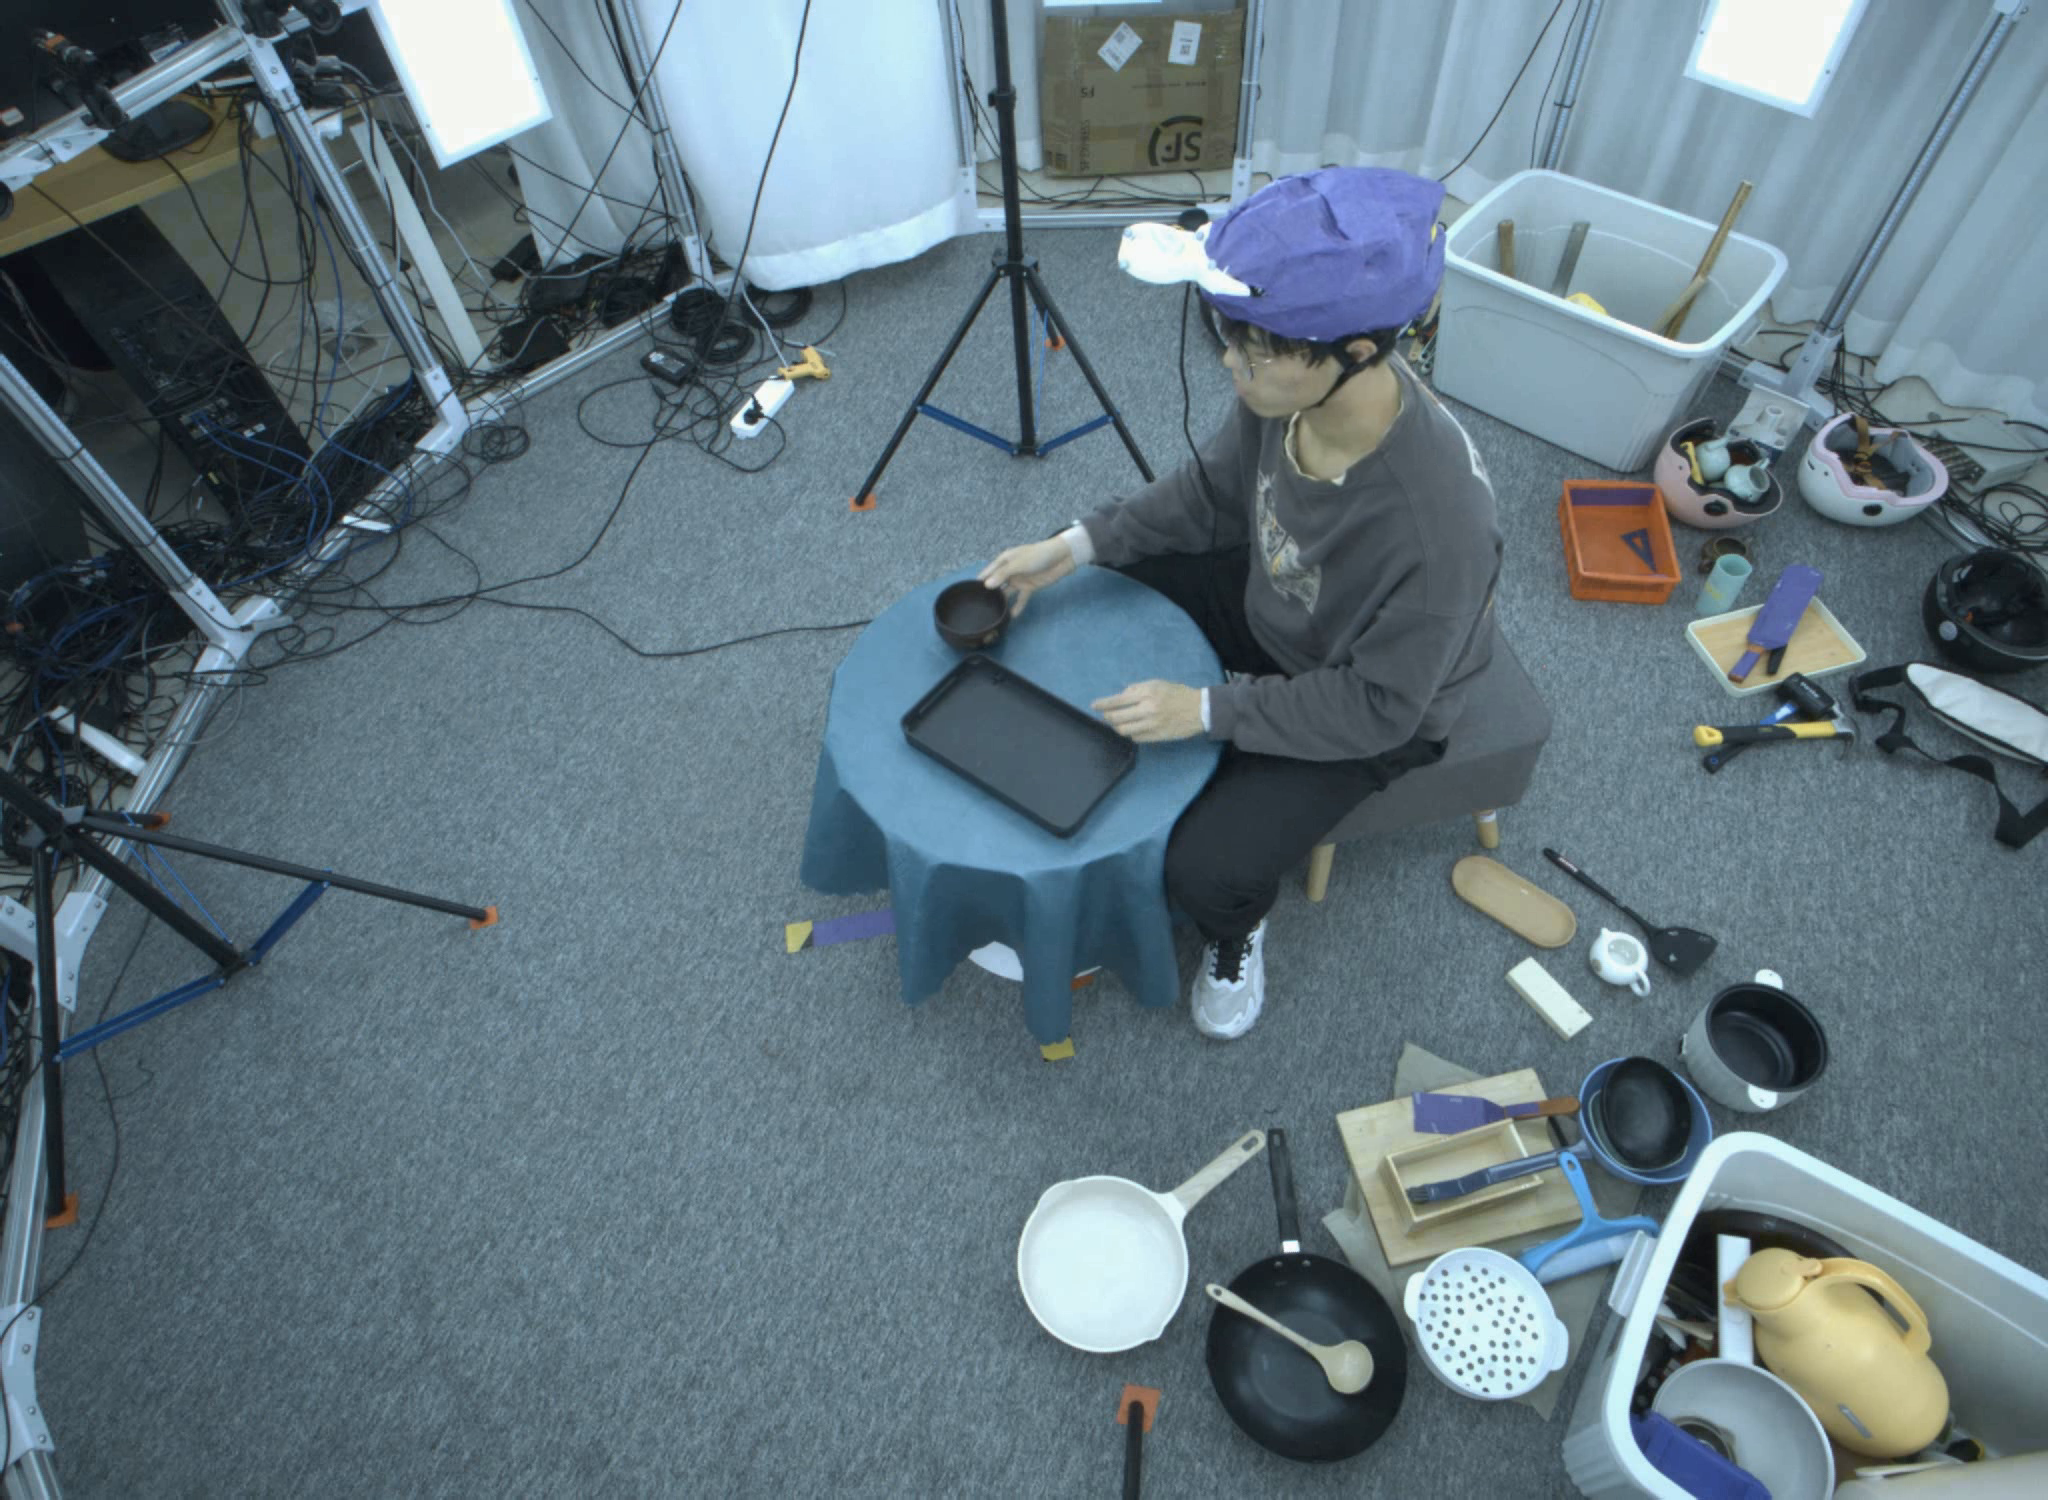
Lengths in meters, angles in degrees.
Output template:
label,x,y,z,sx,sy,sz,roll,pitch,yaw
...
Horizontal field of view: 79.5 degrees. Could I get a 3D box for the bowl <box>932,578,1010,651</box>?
label,x,y,z,sx,sy,sz,roll,pitch,yaw
bowl,-0.081,-0.200,1.887,0.118,0.070,0.117,0,53,1

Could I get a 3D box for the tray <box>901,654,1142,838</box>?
label,x,y,z,sx,sy,sz,roll,pitch,yaw
tray,-0.005,-0.010,1.771,0.313,0.037,0.185,29,60,21
